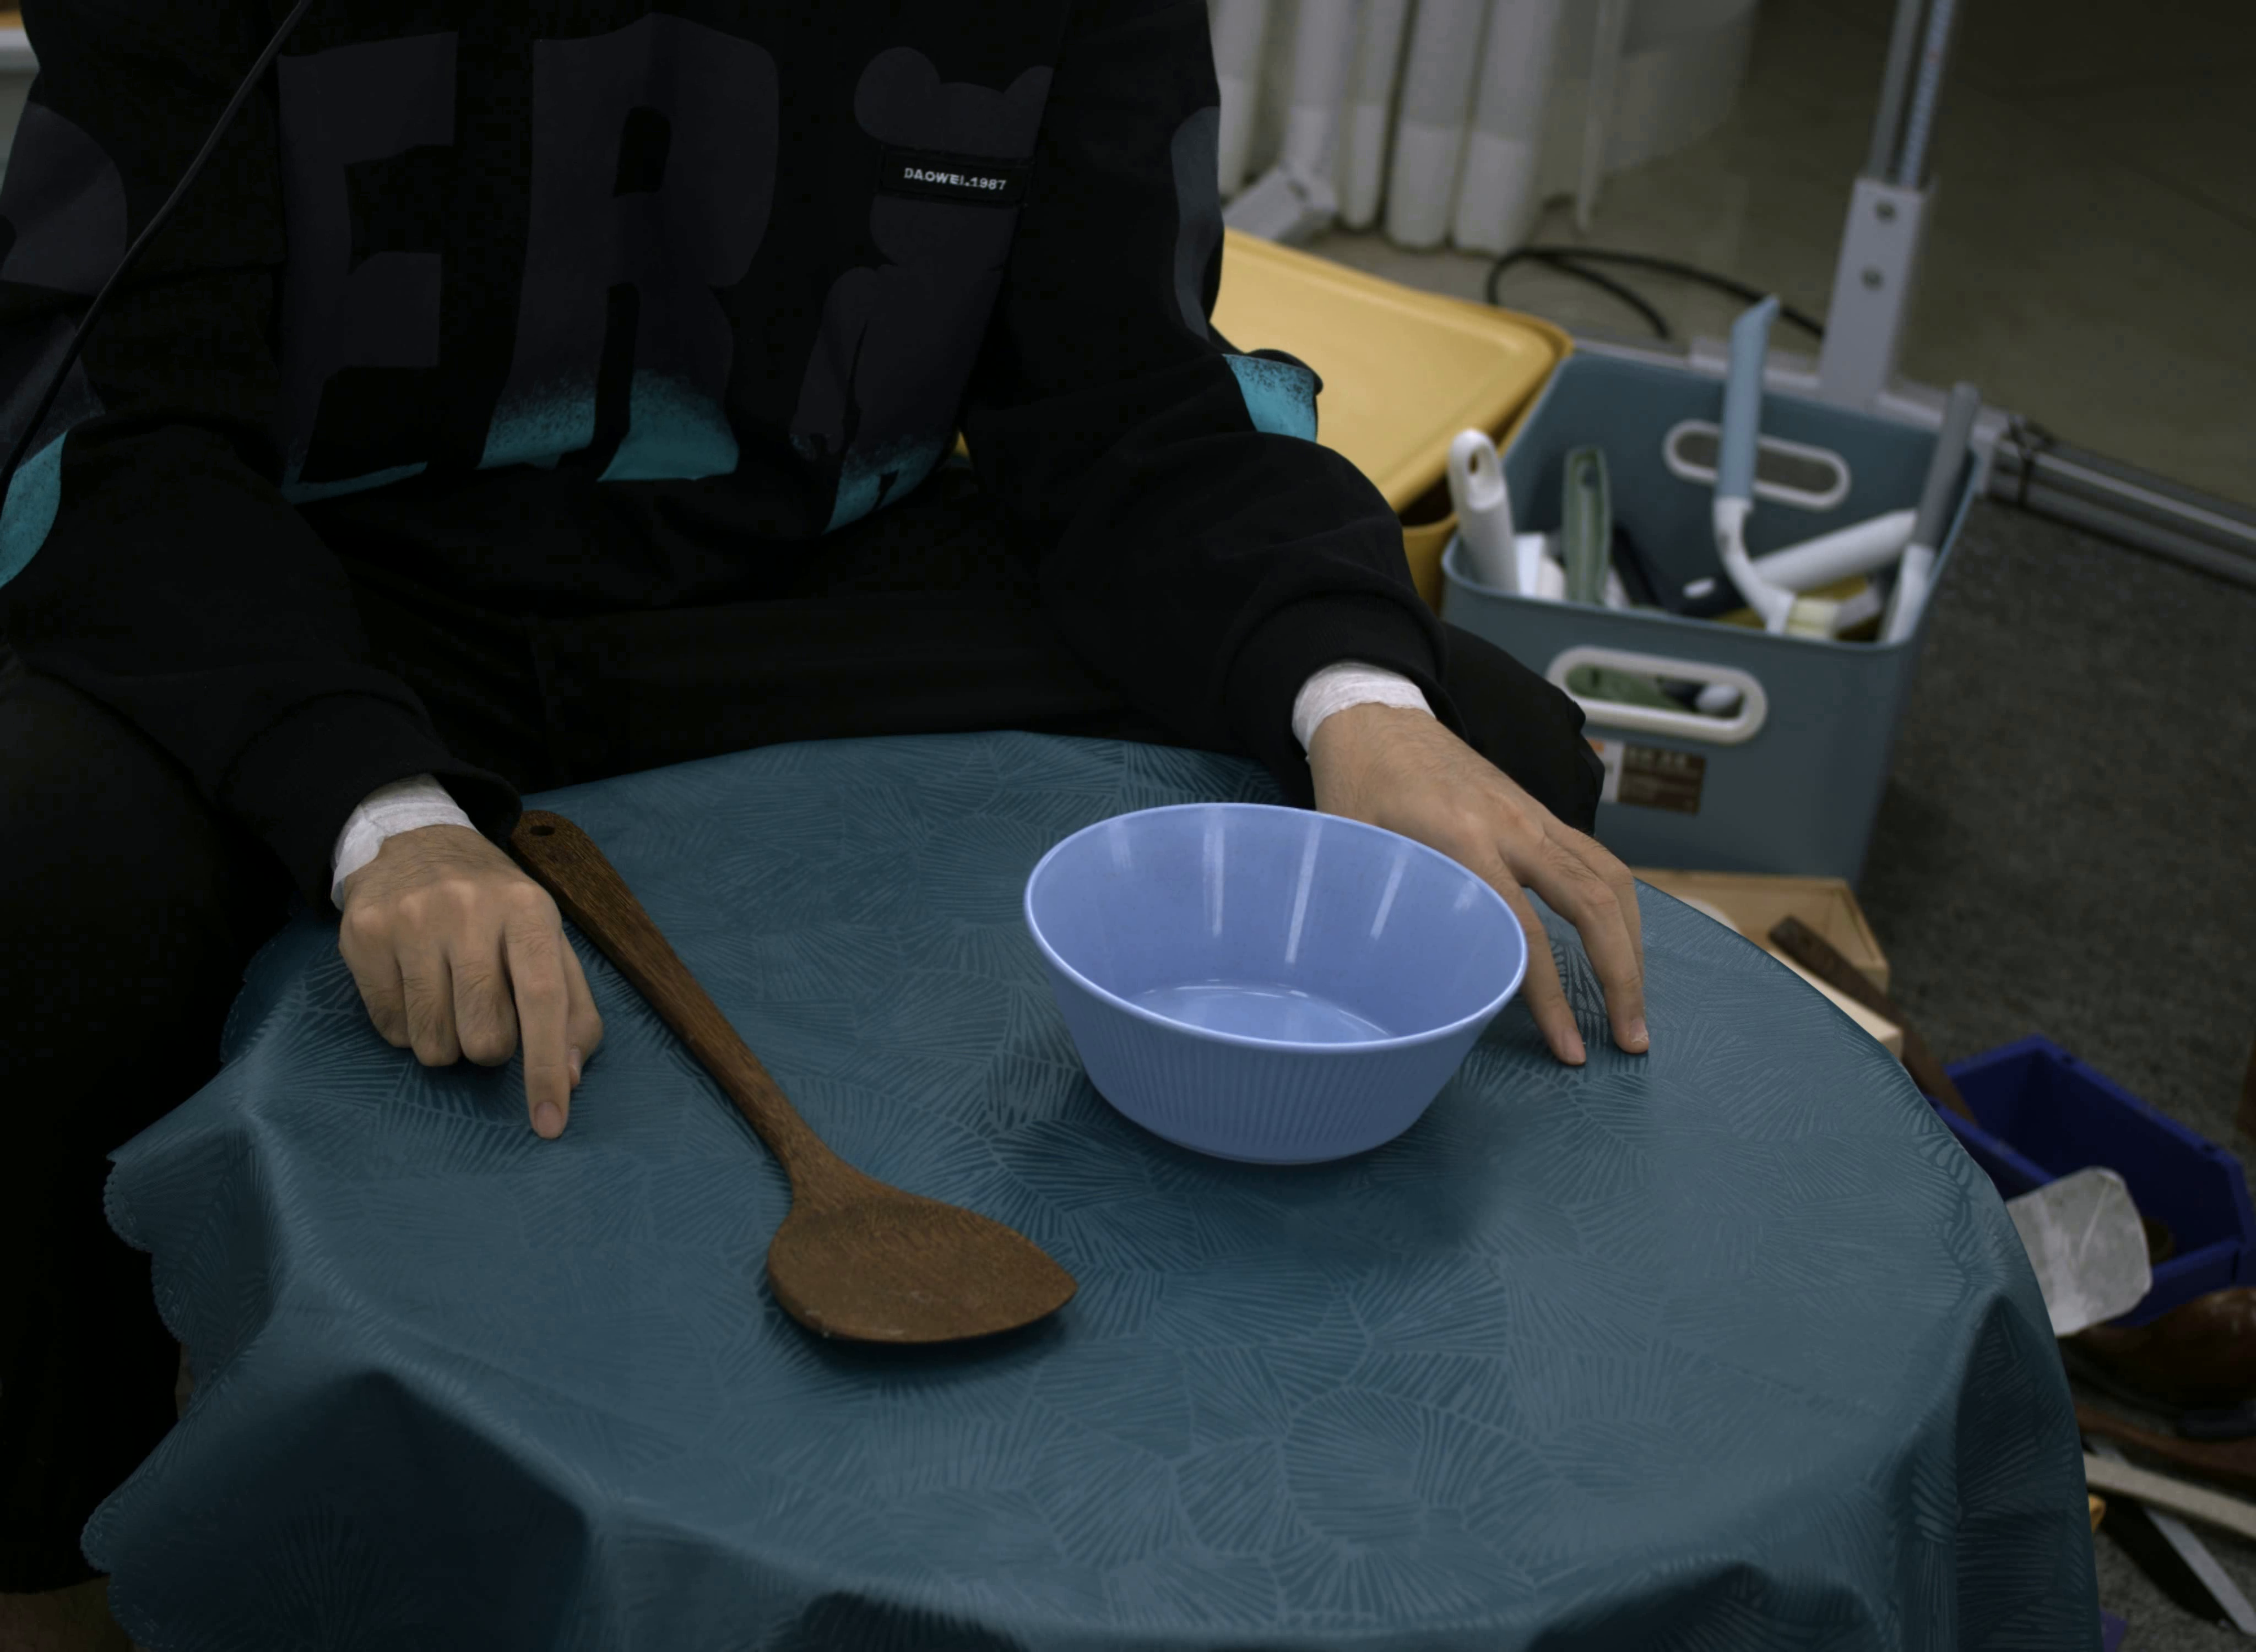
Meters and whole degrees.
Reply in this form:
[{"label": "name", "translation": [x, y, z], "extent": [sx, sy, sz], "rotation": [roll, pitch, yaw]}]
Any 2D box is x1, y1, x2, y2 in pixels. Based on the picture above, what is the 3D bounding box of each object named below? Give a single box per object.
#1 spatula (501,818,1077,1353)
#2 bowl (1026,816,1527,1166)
[{"label": "spatula", "translation": [-0.138, 0.081, 1.838], "extent": [0.095, 0.016, 0.389], "rotation": [-8, 30, -27]}, {"label": "bowl", "translation": [0.048, 0.063, 1.855], "extent": [0.175, 0.070, 0.177], "rotation": [5, 25, -3]}]
